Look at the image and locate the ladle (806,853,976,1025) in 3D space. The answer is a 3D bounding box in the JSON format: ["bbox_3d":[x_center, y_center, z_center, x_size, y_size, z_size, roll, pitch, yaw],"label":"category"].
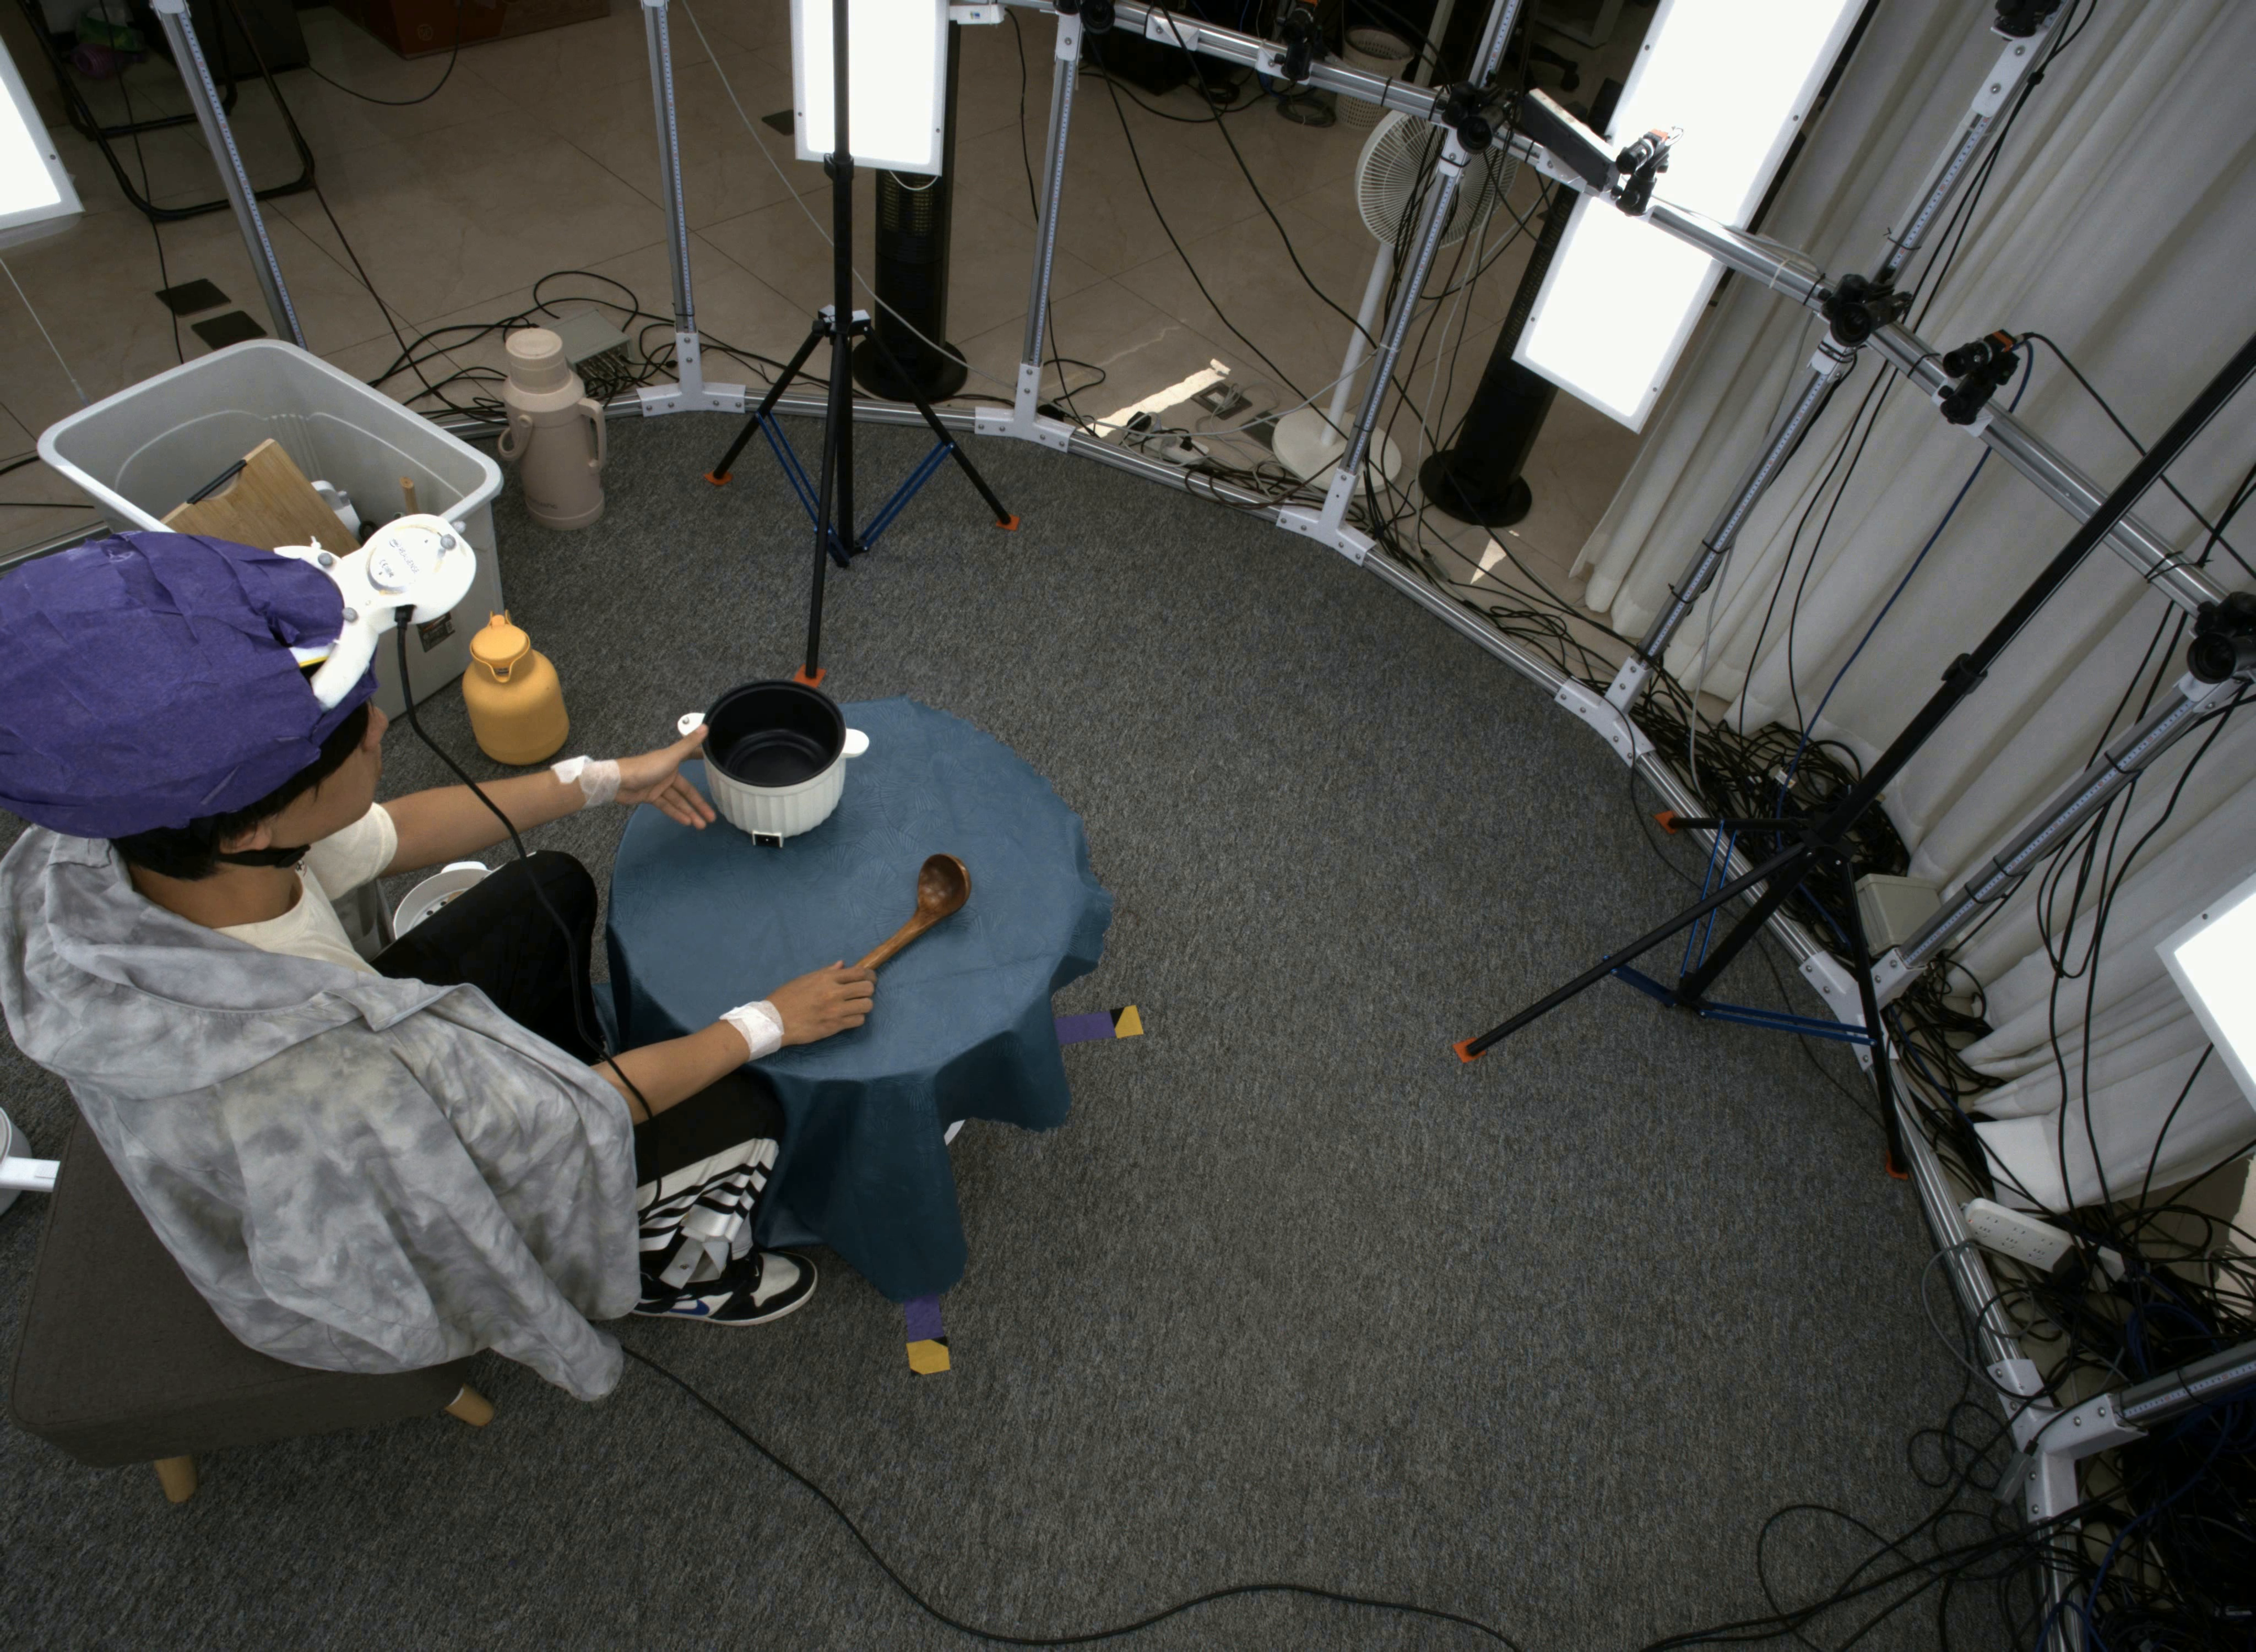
[{"bbox_3d":[-0.296,0.133,1.610,0.079,0.079,0.274,23,49,35],"label":"ladle"}]

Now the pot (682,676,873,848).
[{"bbox_3d":[-0.454,-0.086,1.693,0.240,0.145,0.187,6,56,-10],"label":"pot"}]
